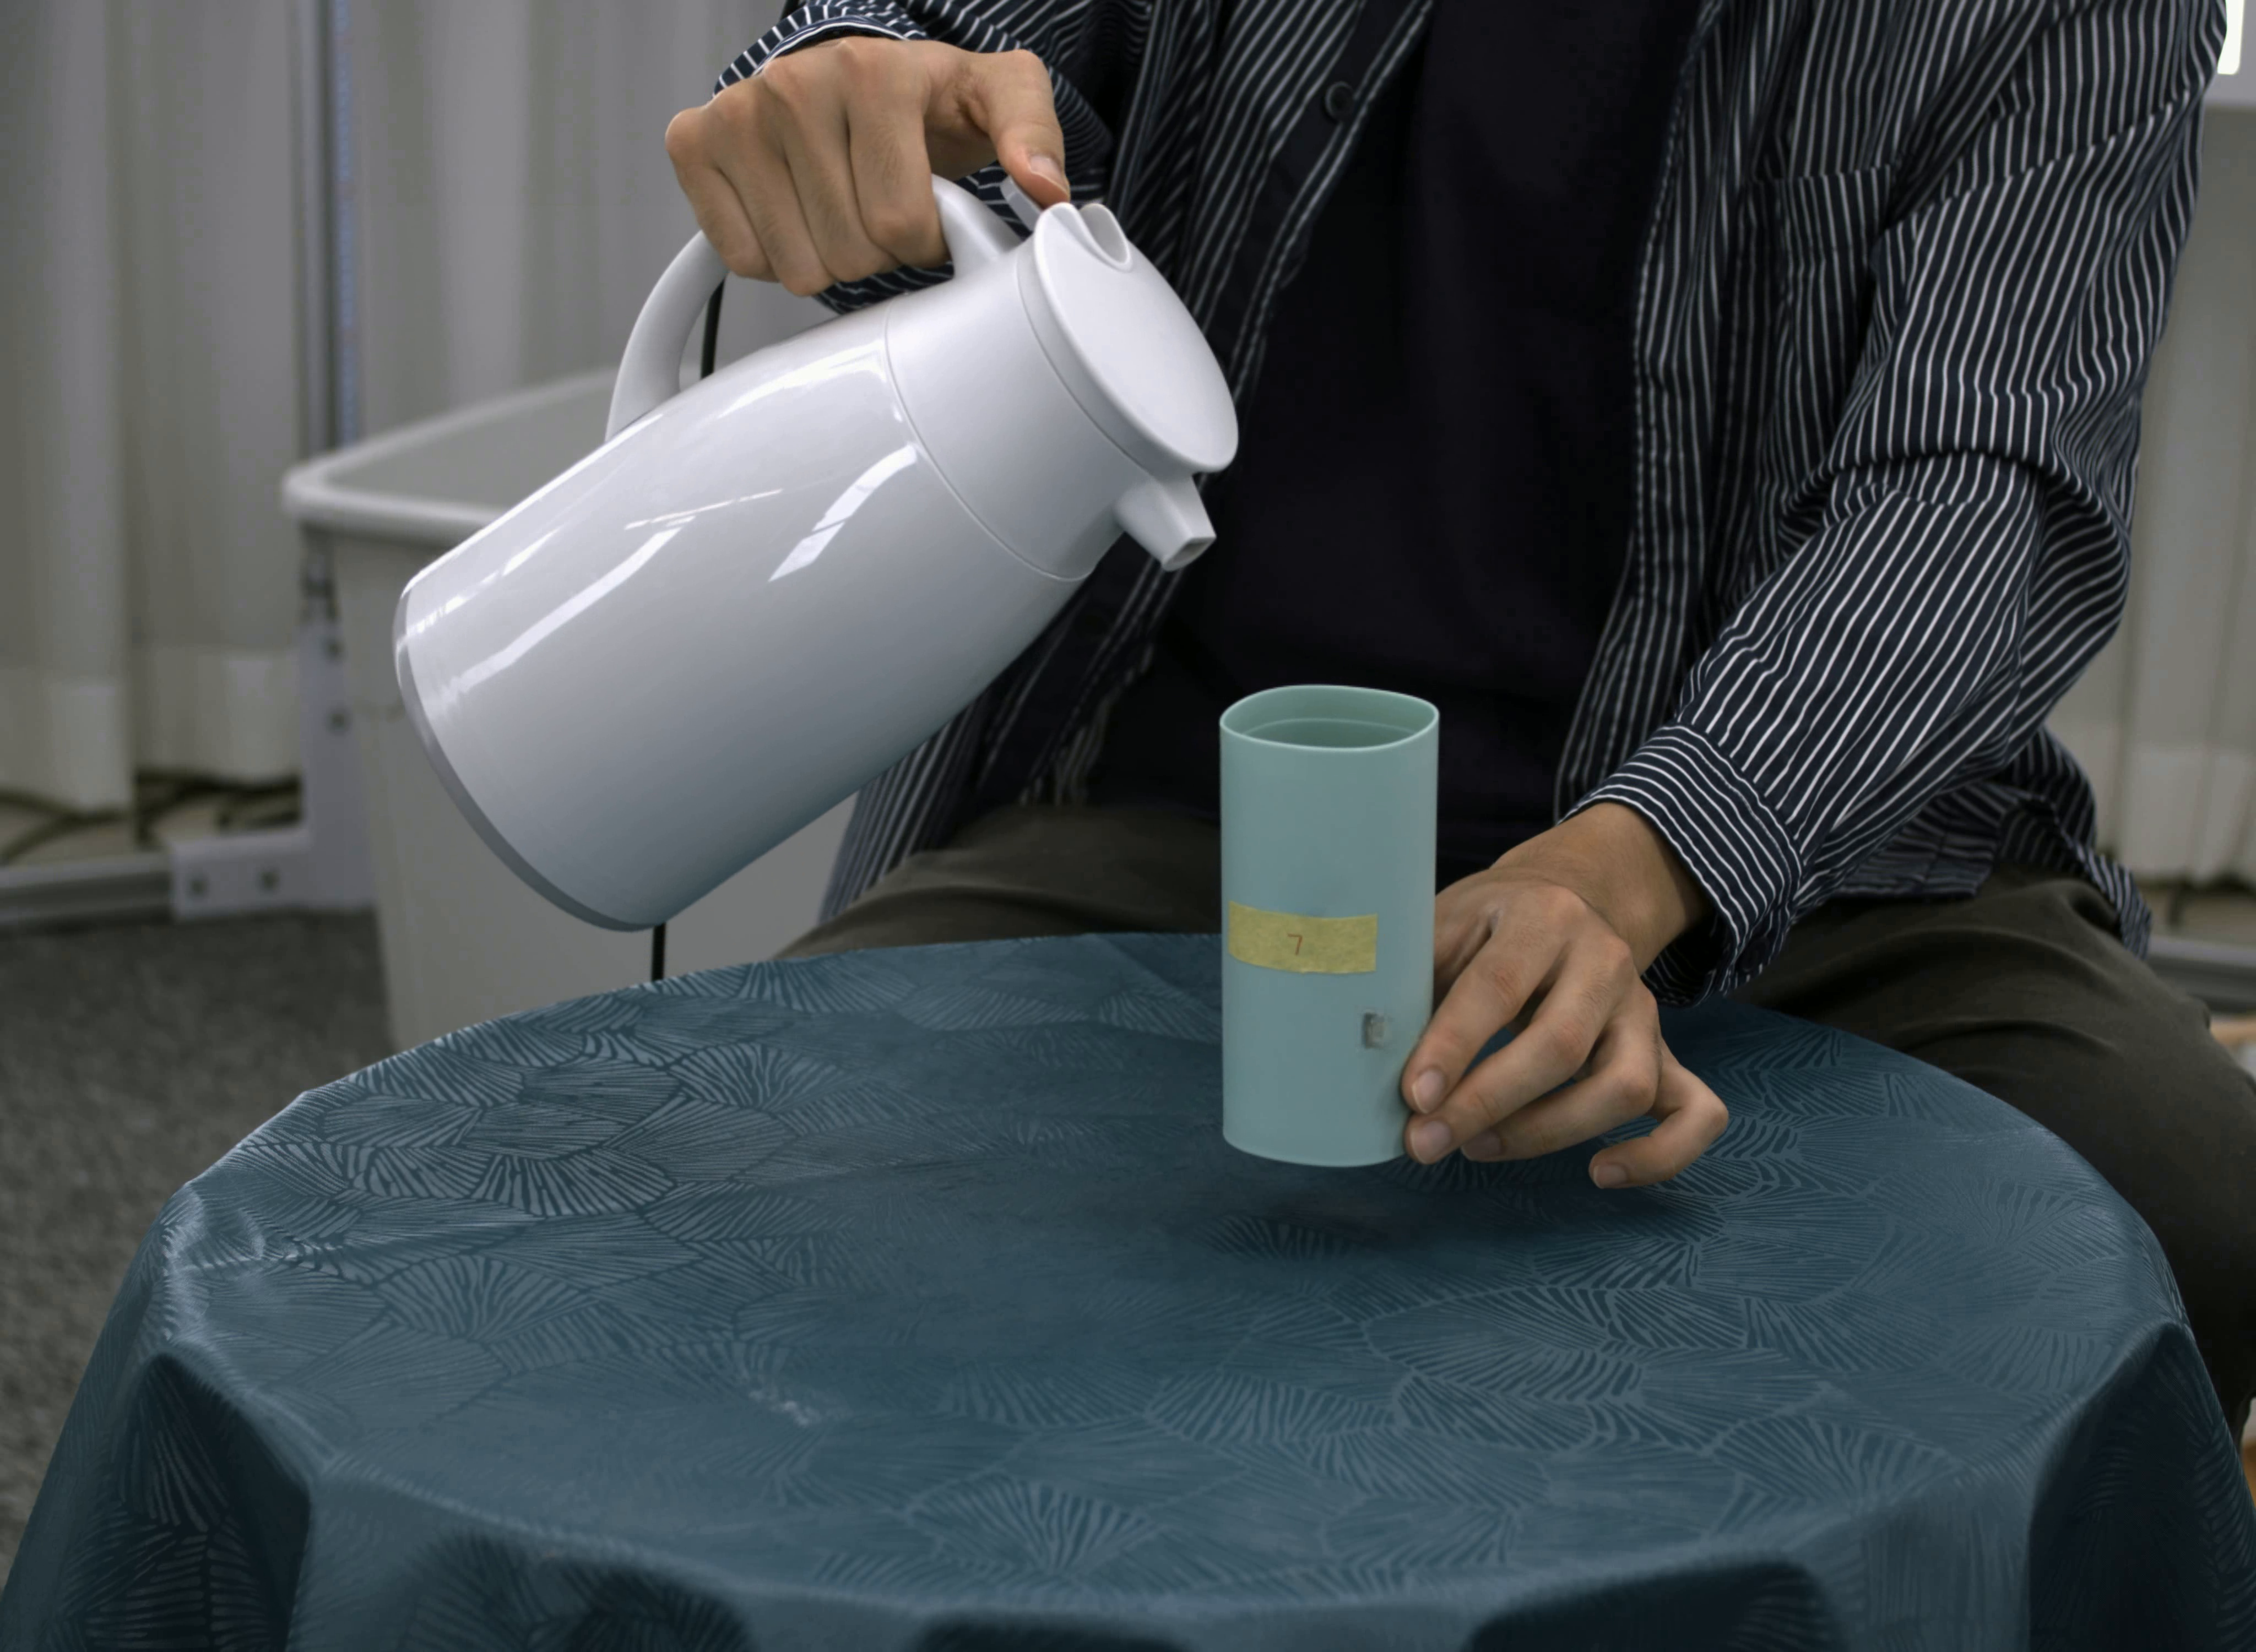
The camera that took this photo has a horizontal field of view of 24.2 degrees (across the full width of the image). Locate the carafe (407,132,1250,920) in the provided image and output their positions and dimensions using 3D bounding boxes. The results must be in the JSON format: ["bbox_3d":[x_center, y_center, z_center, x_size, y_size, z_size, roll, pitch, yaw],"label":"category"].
[{"bbox_3d":[-0.092,-0.106,1.574,0.248,0.167,0.133,-34,-7,24],"label":"carafe"}]

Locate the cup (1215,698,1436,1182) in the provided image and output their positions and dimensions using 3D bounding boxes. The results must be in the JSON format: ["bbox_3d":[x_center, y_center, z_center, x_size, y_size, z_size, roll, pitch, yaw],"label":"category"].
[{"bbox_3d":[0.059,0.033,1.568,0.066,0.133,0.066,0,18,1],"label":"cup"}]
